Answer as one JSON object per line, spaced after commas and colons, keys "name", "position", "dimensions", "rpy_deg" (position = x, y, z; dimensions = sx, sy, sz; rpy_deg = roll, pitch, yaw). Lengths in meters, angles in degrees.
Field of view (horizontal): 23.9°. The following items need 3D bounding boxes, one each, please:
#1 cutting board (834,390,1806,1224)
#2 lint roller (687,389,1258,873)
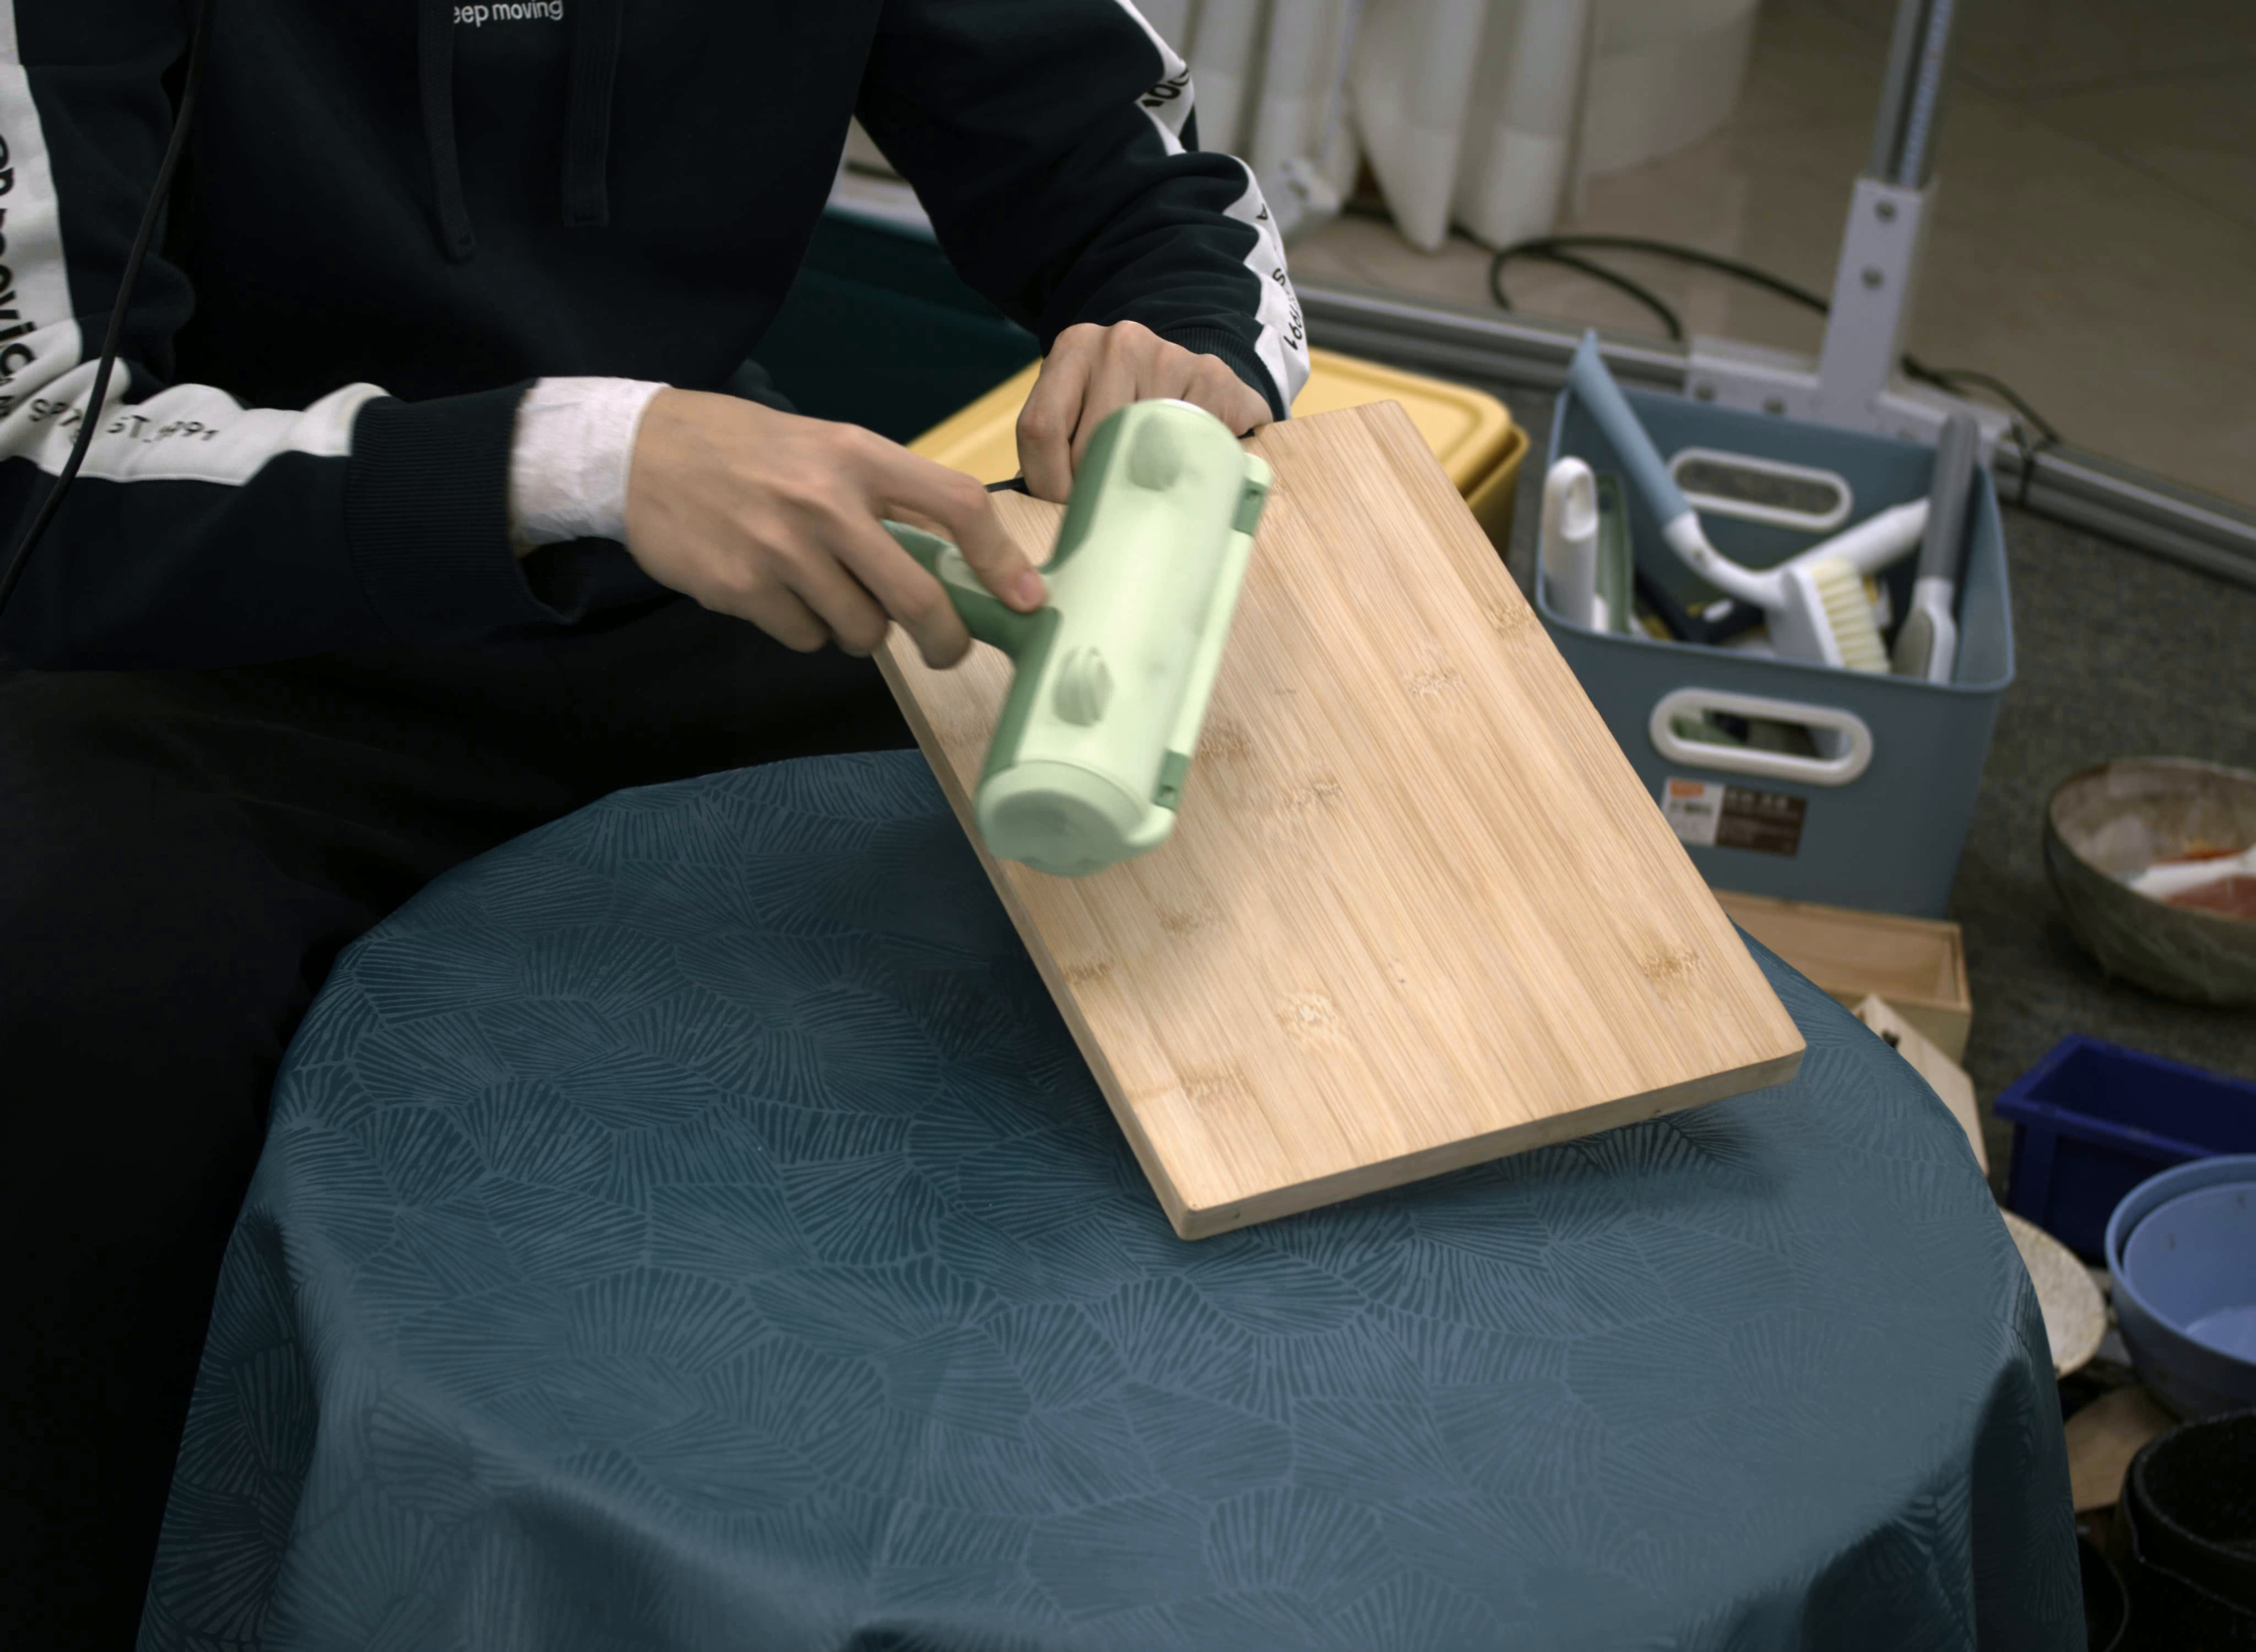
{"name": "cutting board", "position": [0.059, -0.015, 1.914], "dimensions": [0.249, 0.023, 0.352], "rpy_deg": [-13, 51, -21]}
{"name": "lint roller", "position": [-0.059, -0.093, 1.832], "dimensions": [0.183, 0.082, 0.200], "rpy_deg": [21, 49, -3]}
